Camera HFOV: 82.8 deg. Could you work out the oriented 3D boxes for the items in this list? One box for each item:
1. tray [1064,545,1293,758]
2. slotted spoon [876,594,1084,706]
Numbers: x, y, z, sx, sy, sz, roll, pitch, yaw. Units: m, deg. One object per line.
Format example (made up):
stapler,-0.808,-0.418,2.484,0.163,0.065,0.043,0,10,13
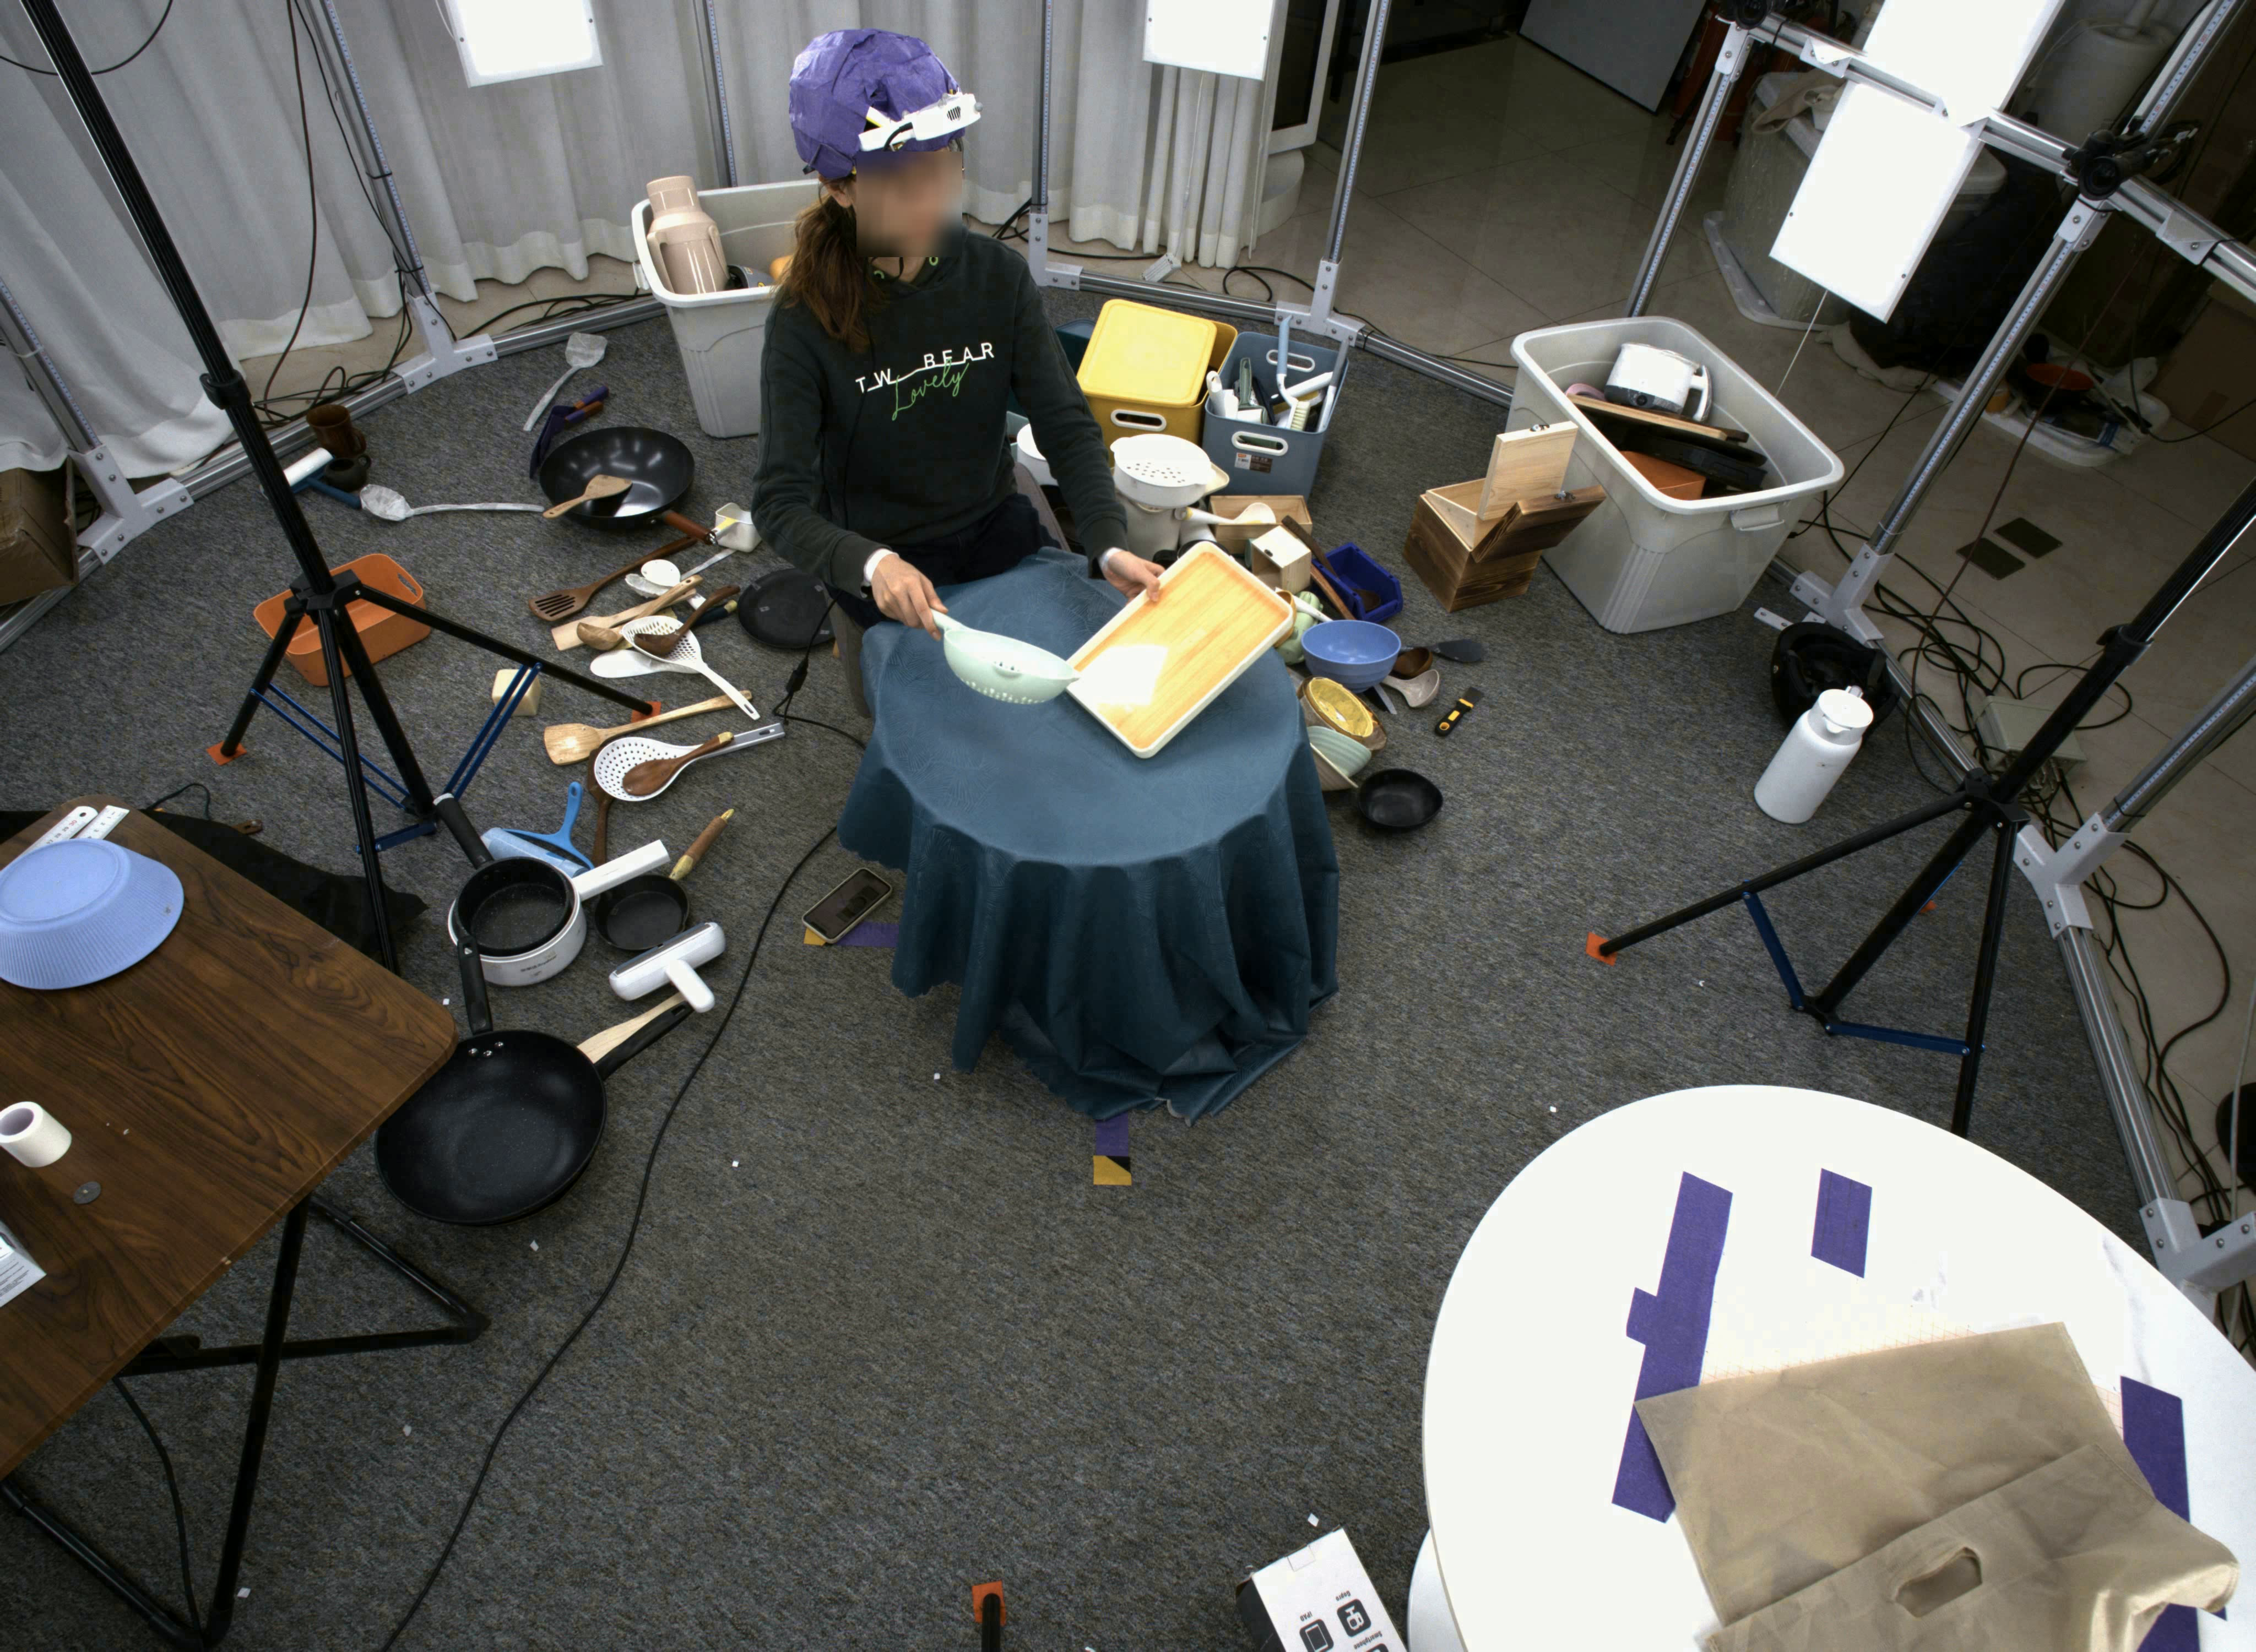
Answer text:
tray,0.068,-0.250,1.812,0.301,0.027,0.194,-42,64,-8
slotted spoon,-0.215,-0.241,1.661,0.168,0.074,0.365,1,31,-48
